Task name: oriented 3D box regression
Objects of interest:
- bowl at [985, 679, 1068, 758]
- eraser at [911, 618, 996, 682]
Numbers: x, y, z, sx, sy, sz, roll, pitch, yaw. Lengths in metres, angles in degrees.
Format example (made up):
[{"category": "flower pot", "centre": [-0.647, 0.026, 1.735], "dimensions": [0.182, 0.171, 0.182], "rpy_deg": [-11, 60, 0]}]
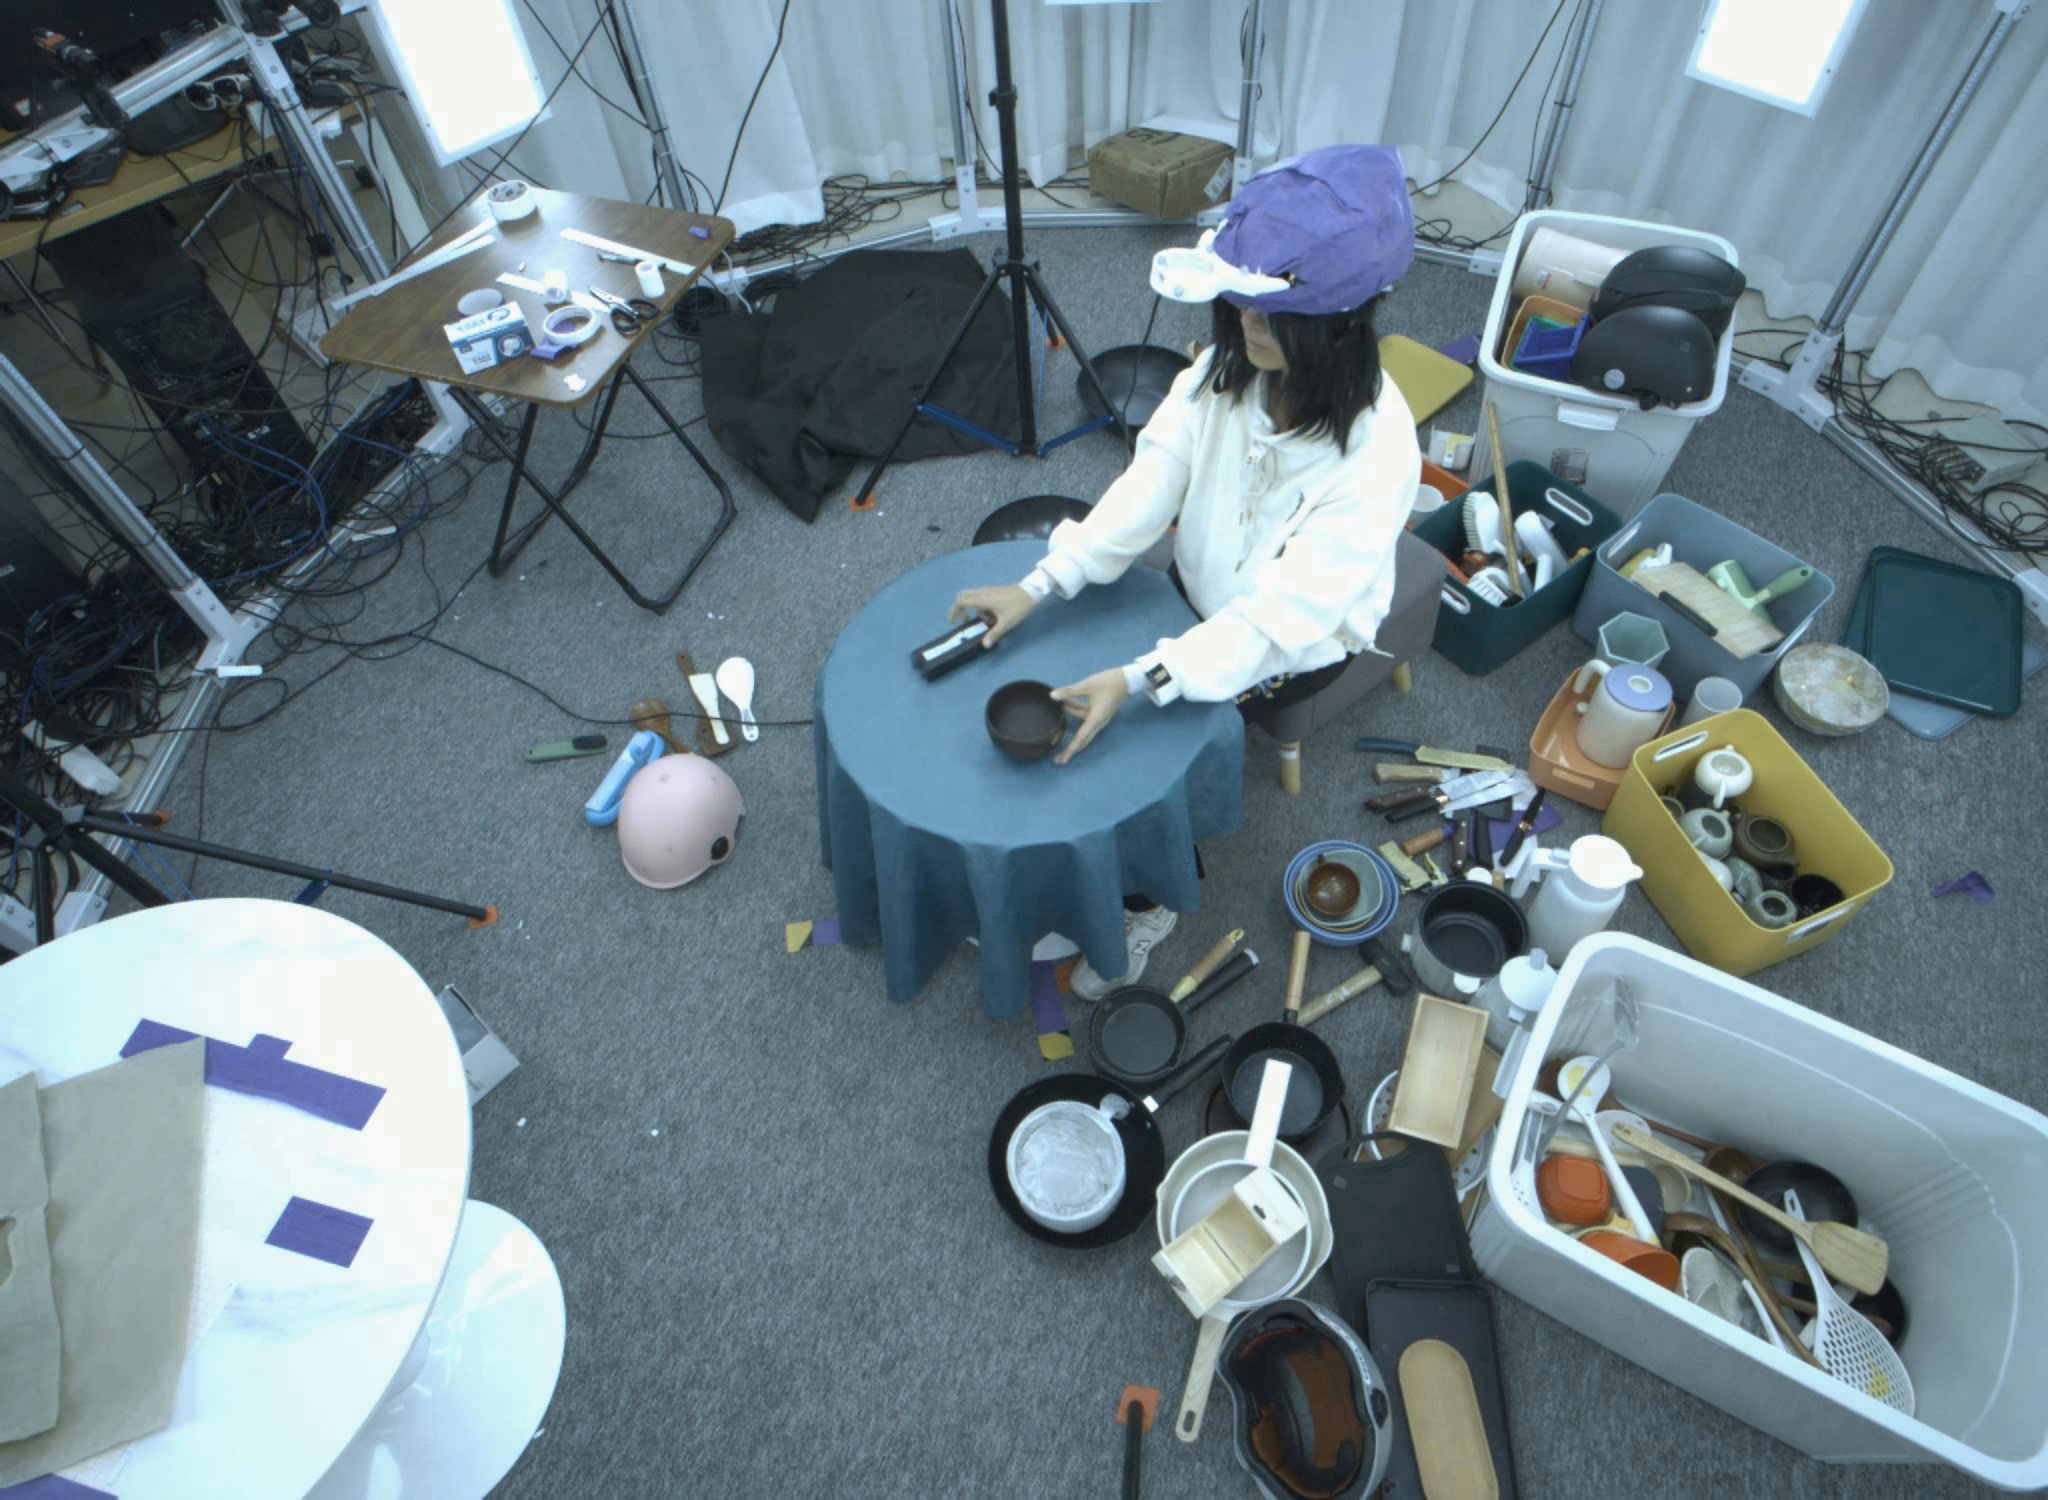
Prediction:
[{"category": "bowl", "centre": [0.004, -0.037, 1.770], "dimensions": [0.118, 0.070, 0.117], "rpy_deg": [0, 54, 2]}, {"category": "eraser", "centre": [-0.108, -0.155, 1.884], "dimensions": [0.126, 0.031, 0.052], "rpy_deg": [-30, 60, -20]}]
